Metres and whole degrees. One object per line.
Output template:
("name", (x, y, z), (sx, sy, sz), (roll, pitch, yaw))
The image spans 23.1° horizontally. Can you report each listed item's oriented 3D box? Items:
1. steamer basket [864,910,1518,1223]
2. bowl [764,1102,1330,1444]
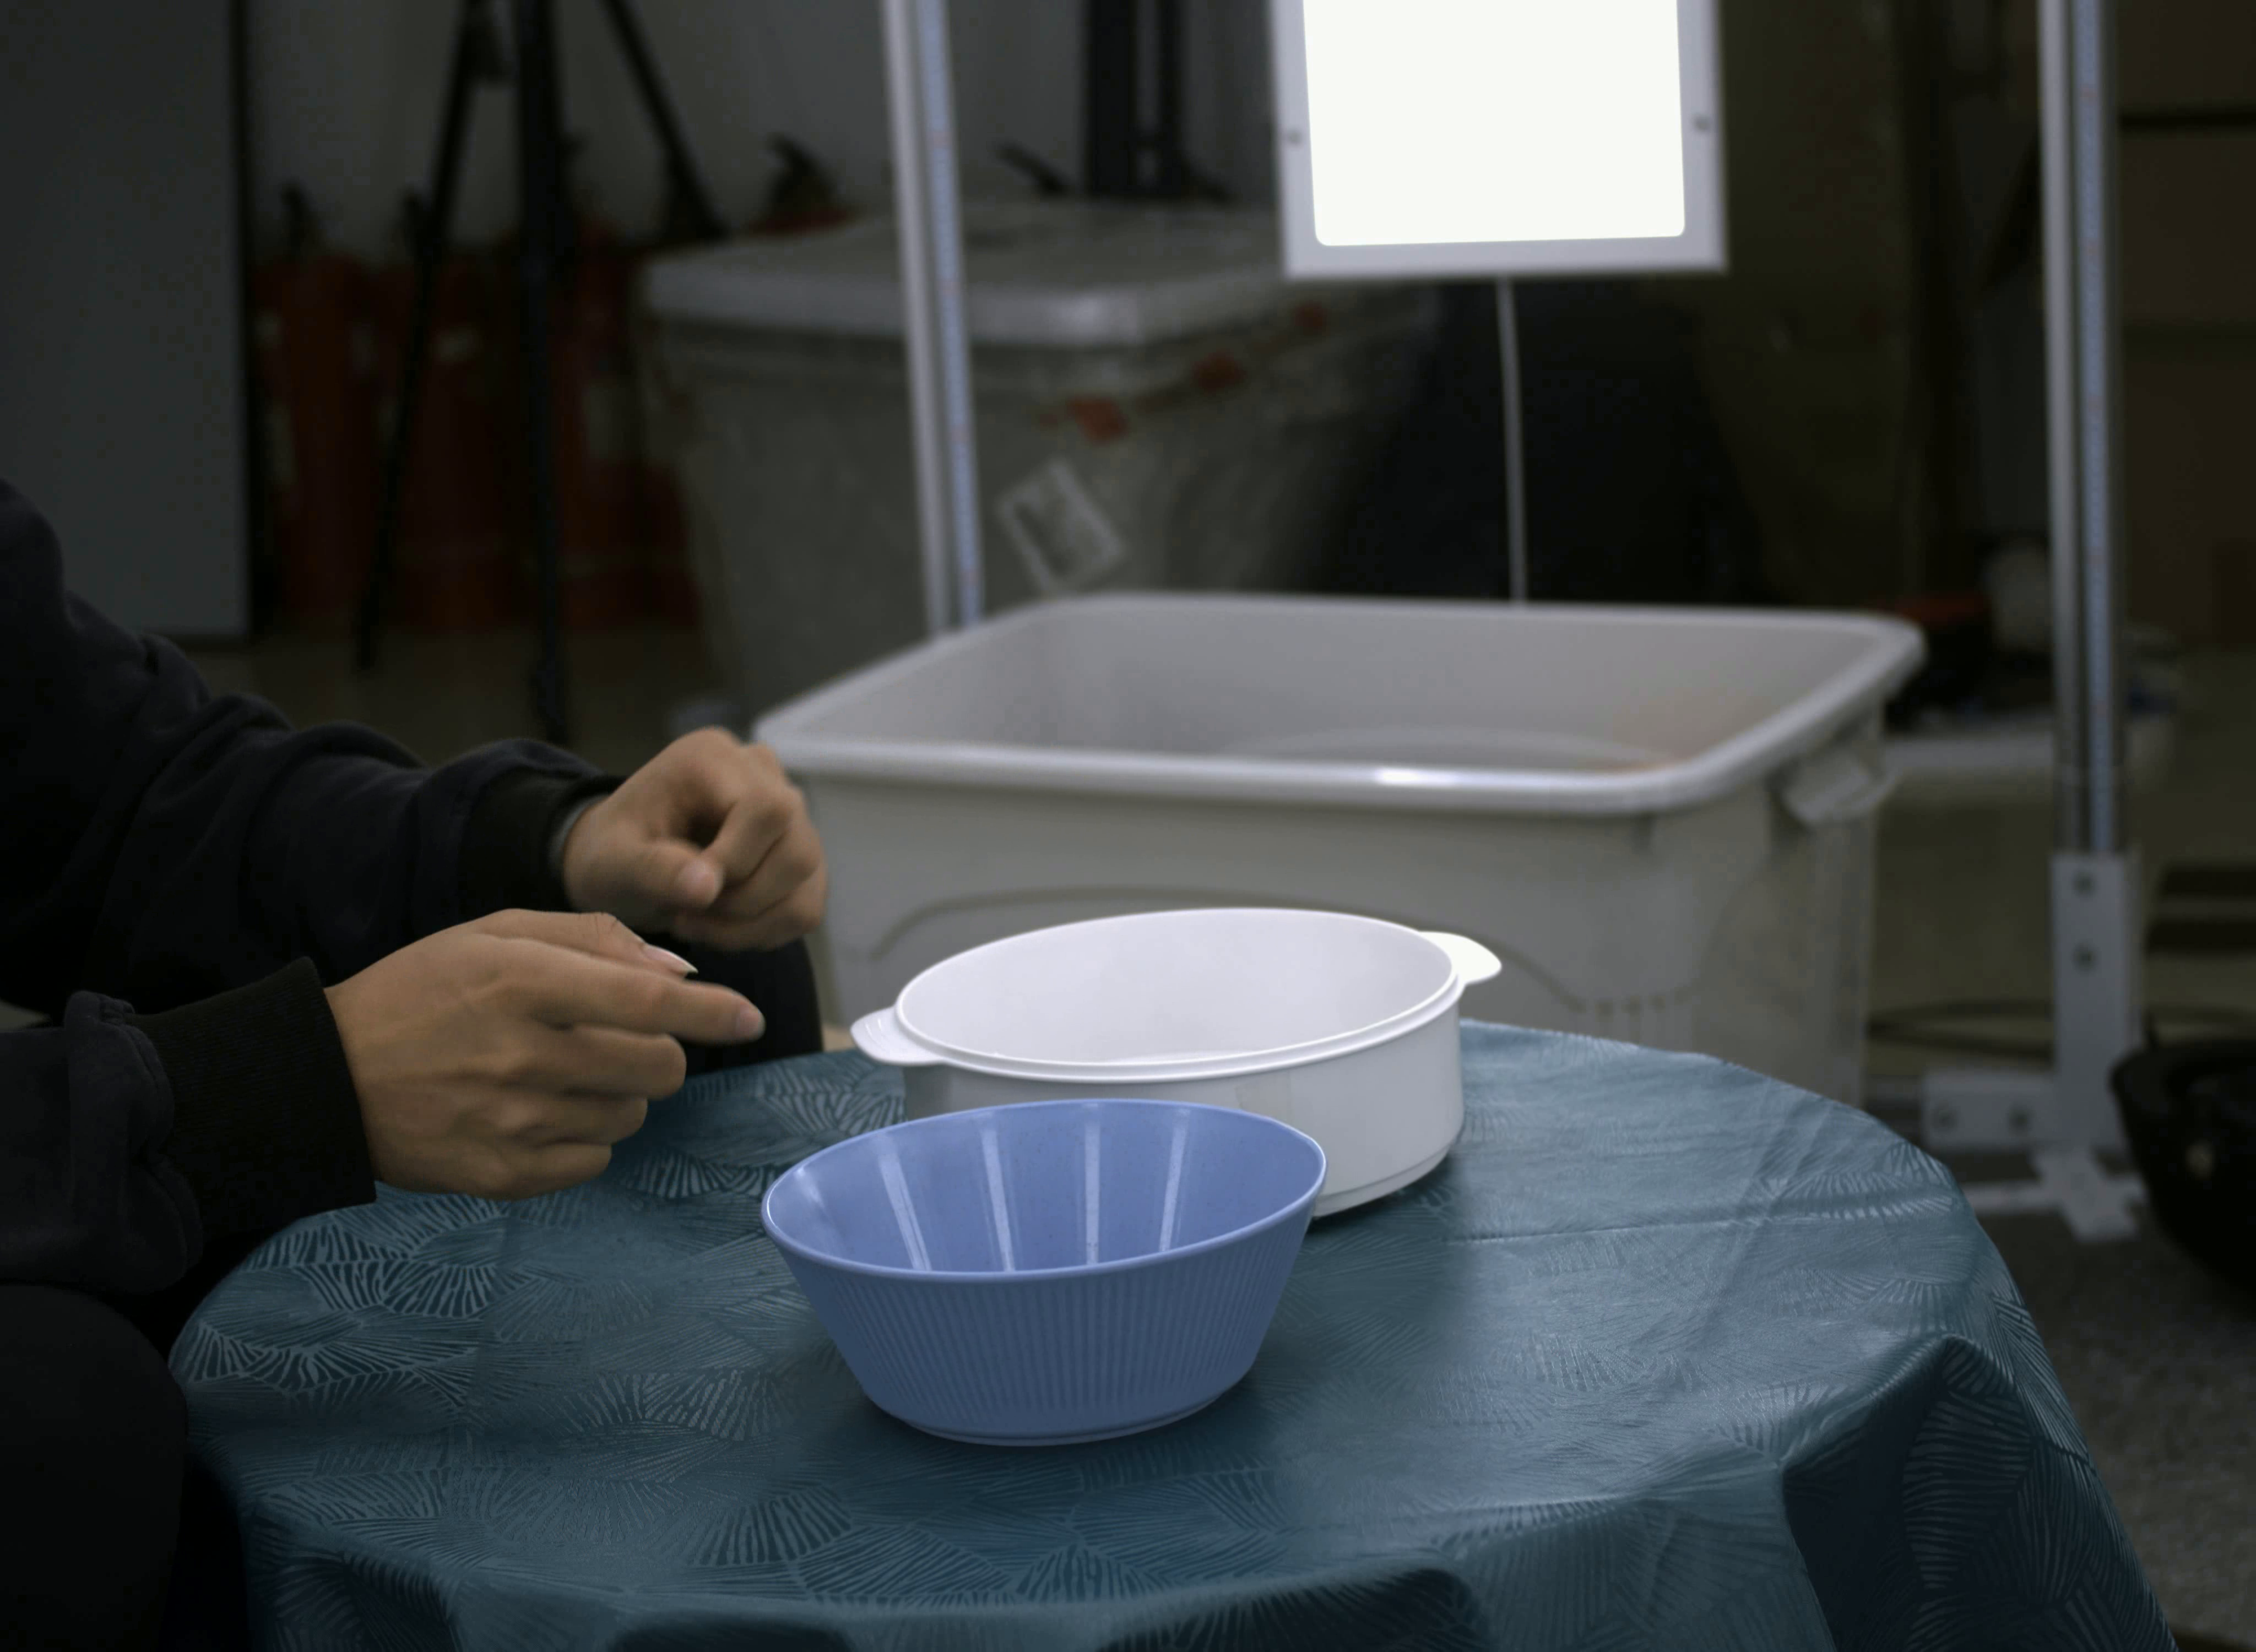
("steamer basket", (0.024, 0.085, 1.915), (0.227, 0.069, 0.204), (-6, 14, -13))
("bowl", (-0.022, 0.140, 1.700), (0.175, 0.070, 0.176), (-5, 13, 0))
